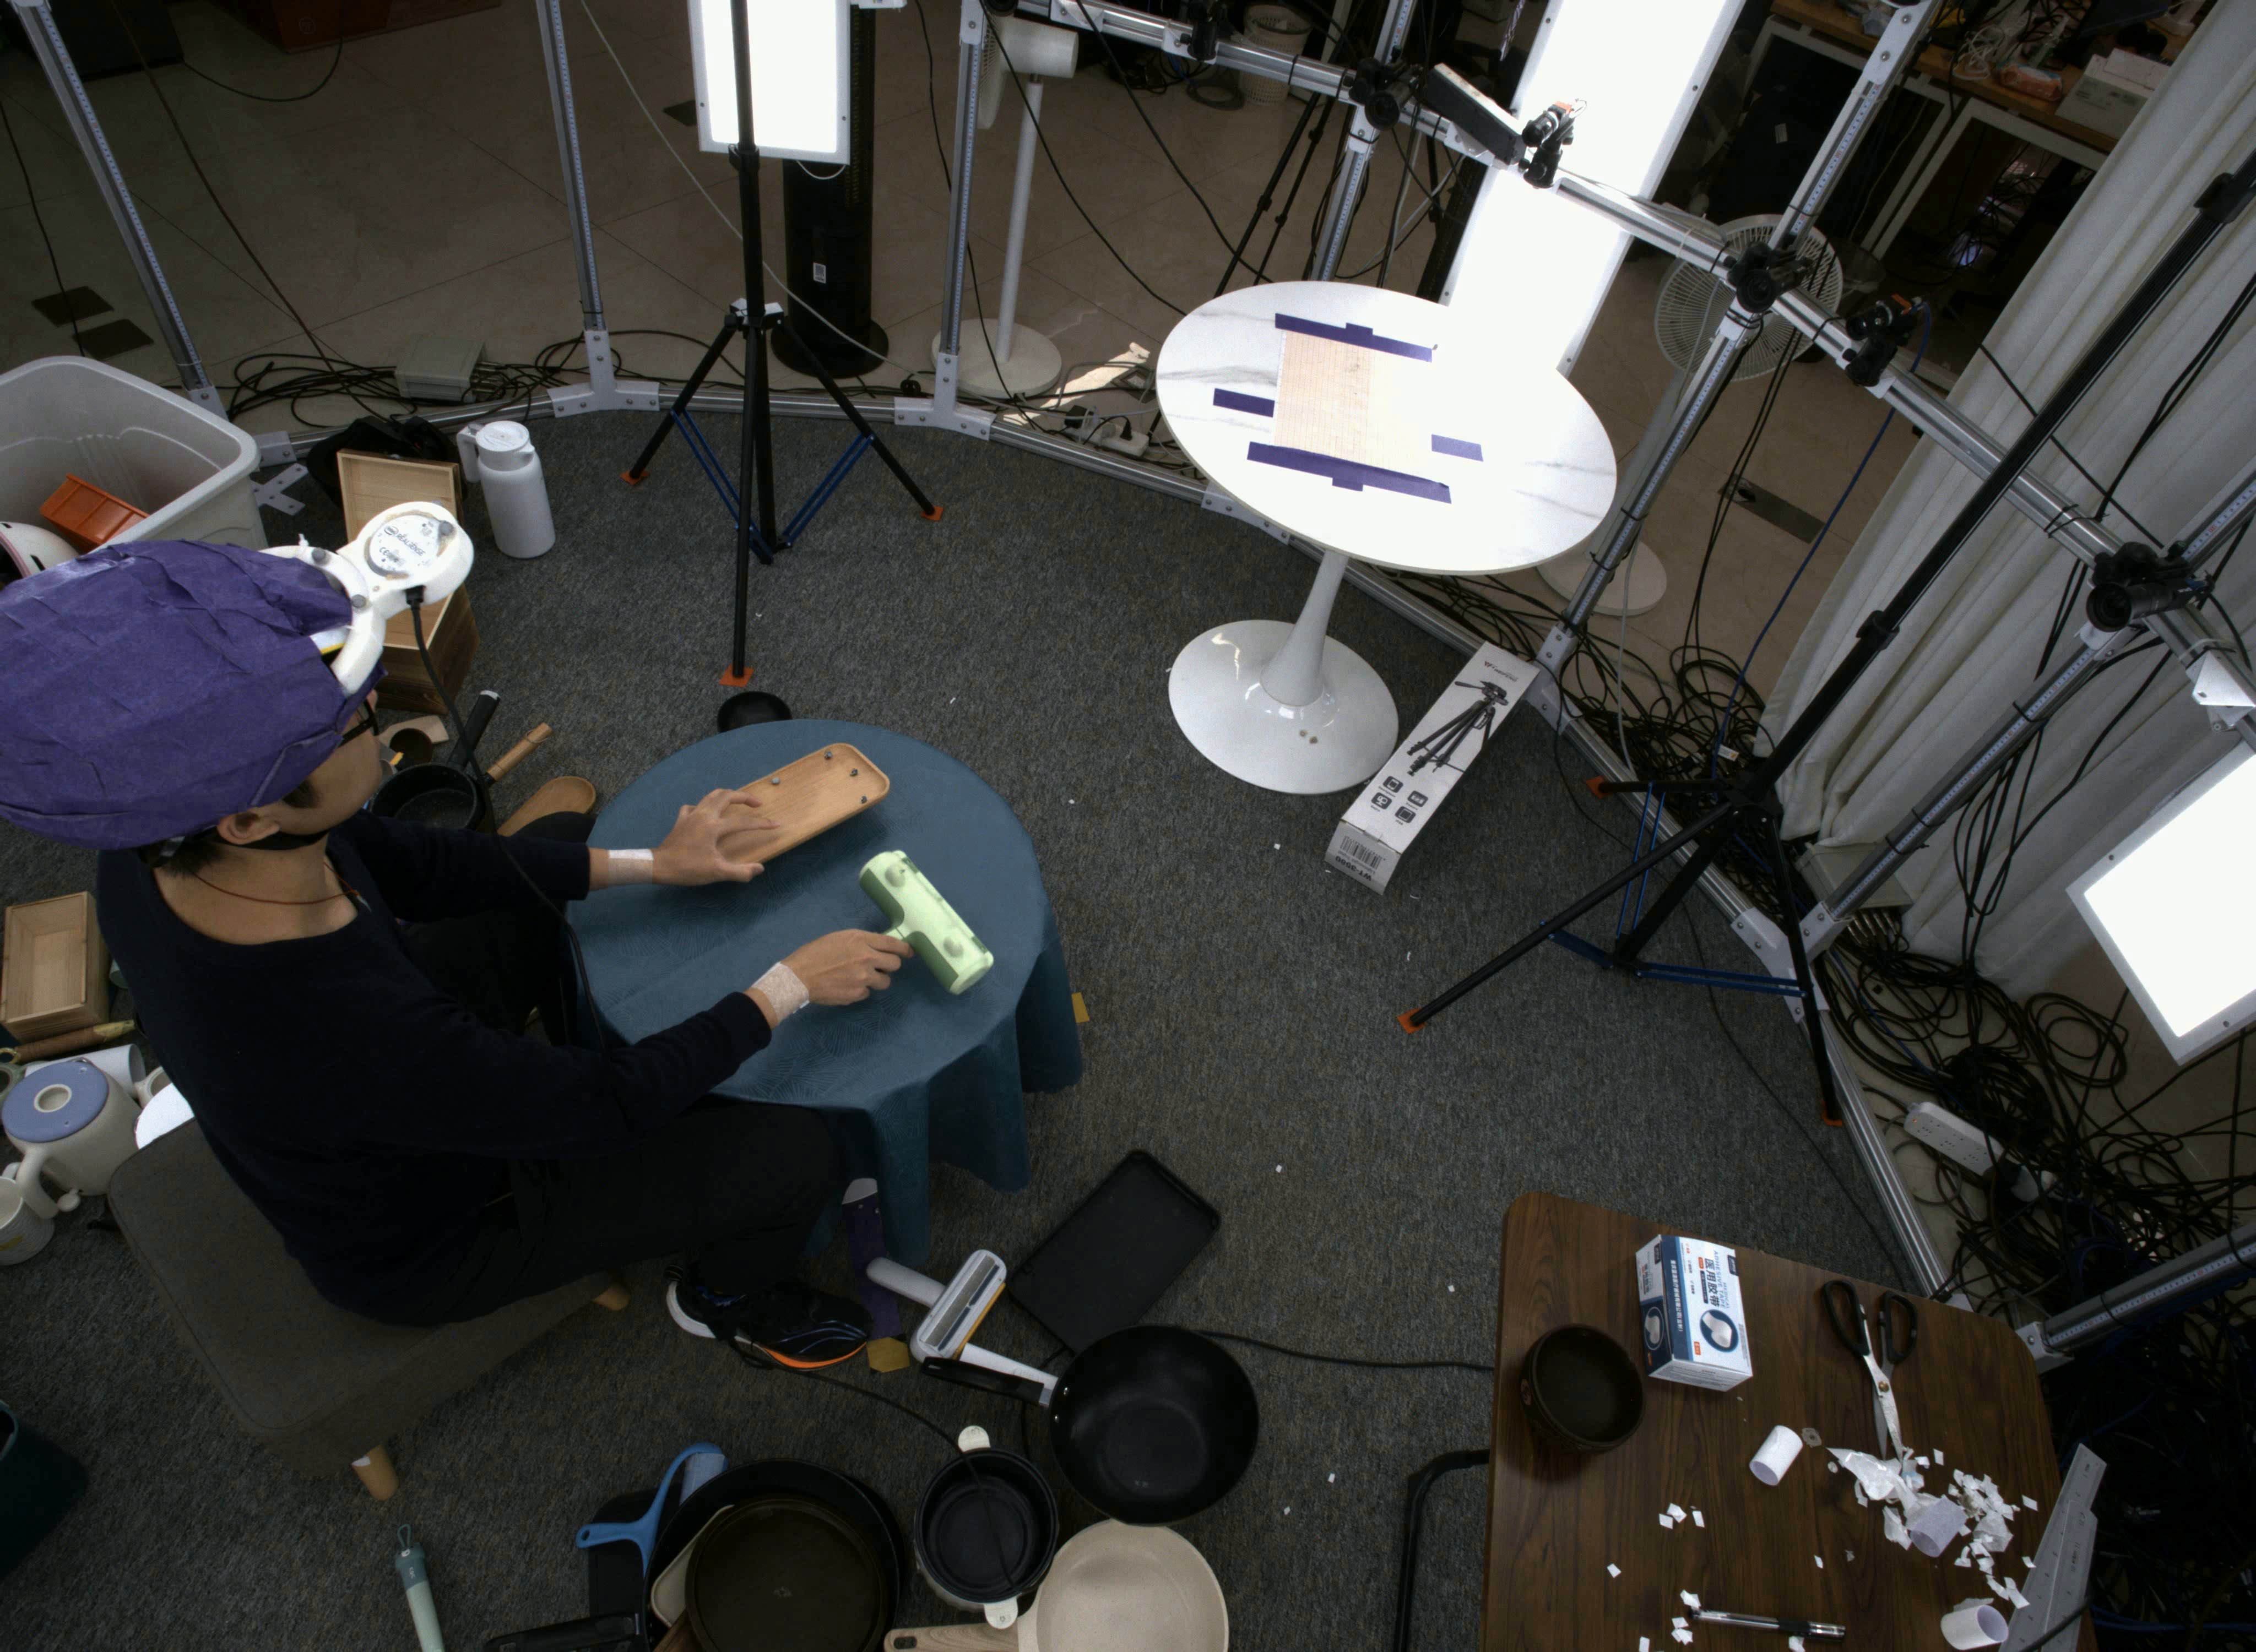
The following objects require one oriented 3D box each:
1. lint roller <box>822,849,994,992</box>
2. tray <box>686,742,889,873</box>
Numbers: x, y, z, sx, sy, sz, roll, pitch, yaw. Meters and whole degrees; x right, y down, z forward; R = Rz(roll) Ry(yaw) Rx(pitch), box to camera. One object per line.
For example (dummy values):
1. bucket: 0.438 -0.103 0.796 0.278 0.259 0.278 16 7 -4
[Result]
1. lint roller: -0.283 0.128 1.541 0.195 0.083 0.184 46 46 13
2. tray: -0.434 -0.027 1.660 0.251 0.023 0.126 -31 54 -31
